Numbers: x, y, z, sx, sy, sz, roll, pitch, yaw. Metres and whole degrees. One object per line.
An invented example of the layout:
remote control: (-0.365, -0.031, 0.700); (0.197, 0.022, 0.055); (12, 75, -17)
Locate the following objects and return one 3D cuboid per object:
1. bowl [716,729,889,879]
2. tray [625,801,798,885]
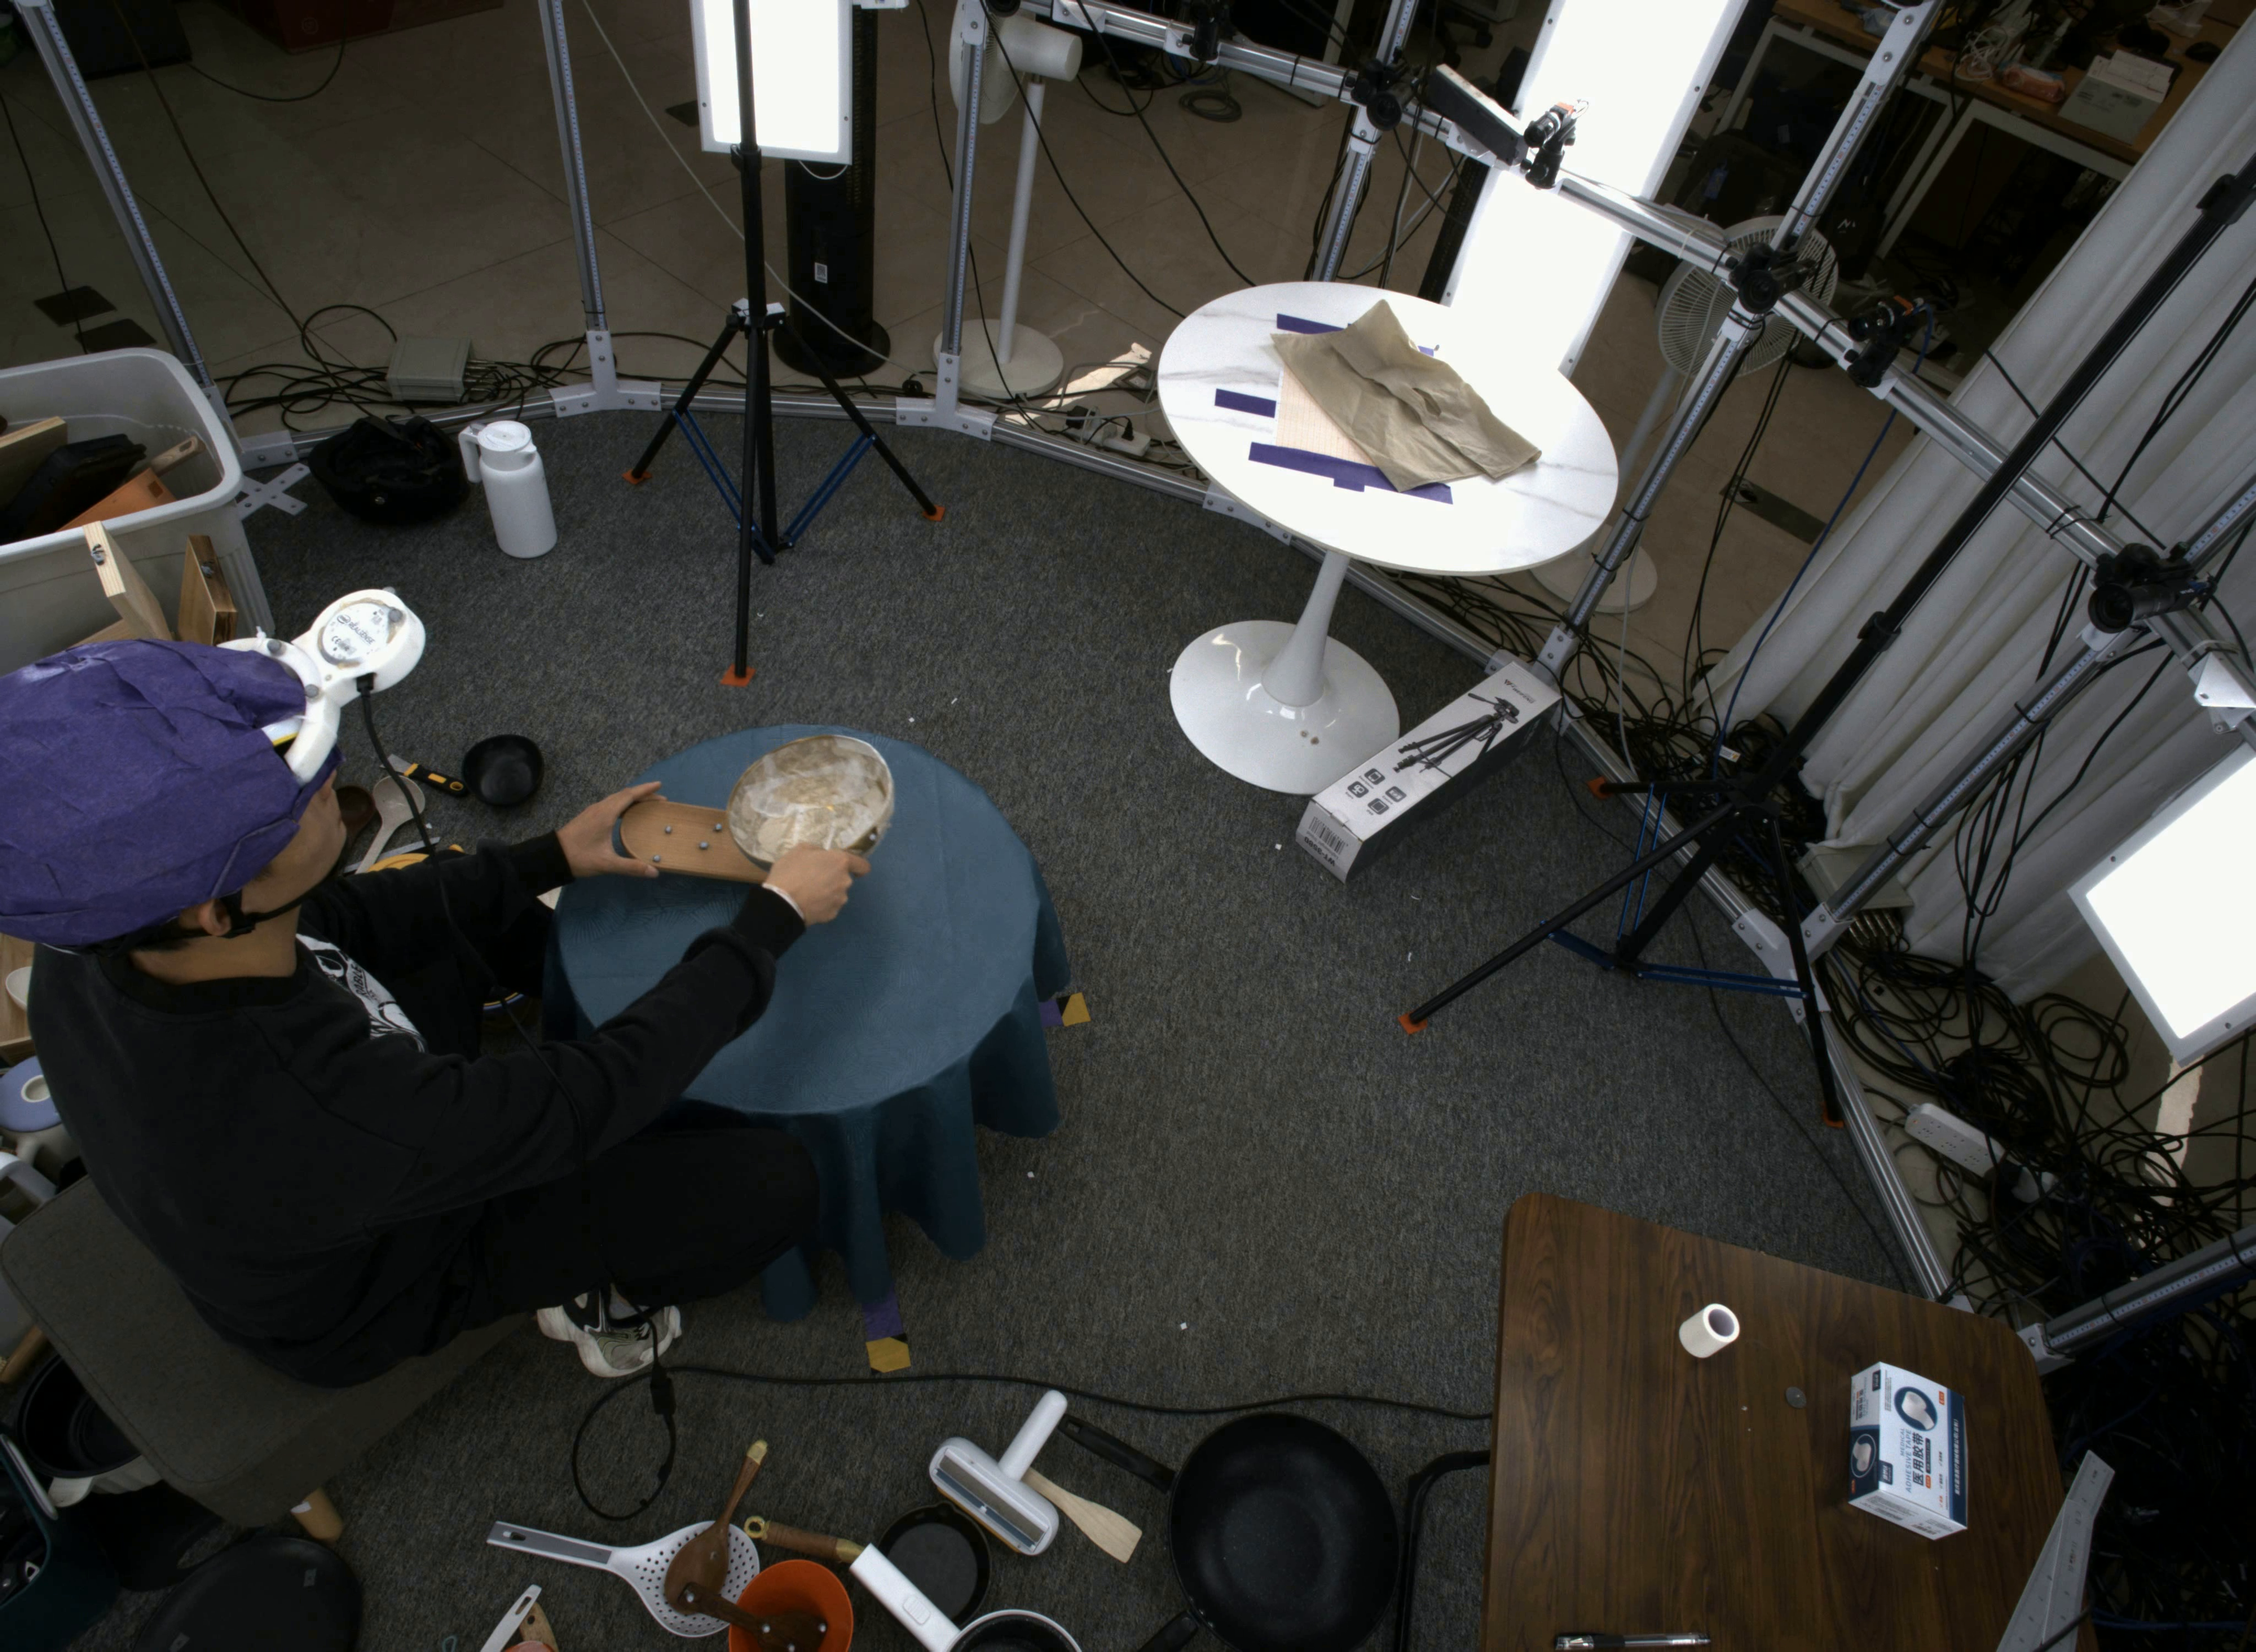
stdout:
bowl: (-0.386, -0.012, 1.581); (0.211, 0.098, 0.211); (-2, 54, 5)
tray: (-0.521, 0.022, 1.636); (0.235, 0.020, 0.100); (10, 54, -32)
